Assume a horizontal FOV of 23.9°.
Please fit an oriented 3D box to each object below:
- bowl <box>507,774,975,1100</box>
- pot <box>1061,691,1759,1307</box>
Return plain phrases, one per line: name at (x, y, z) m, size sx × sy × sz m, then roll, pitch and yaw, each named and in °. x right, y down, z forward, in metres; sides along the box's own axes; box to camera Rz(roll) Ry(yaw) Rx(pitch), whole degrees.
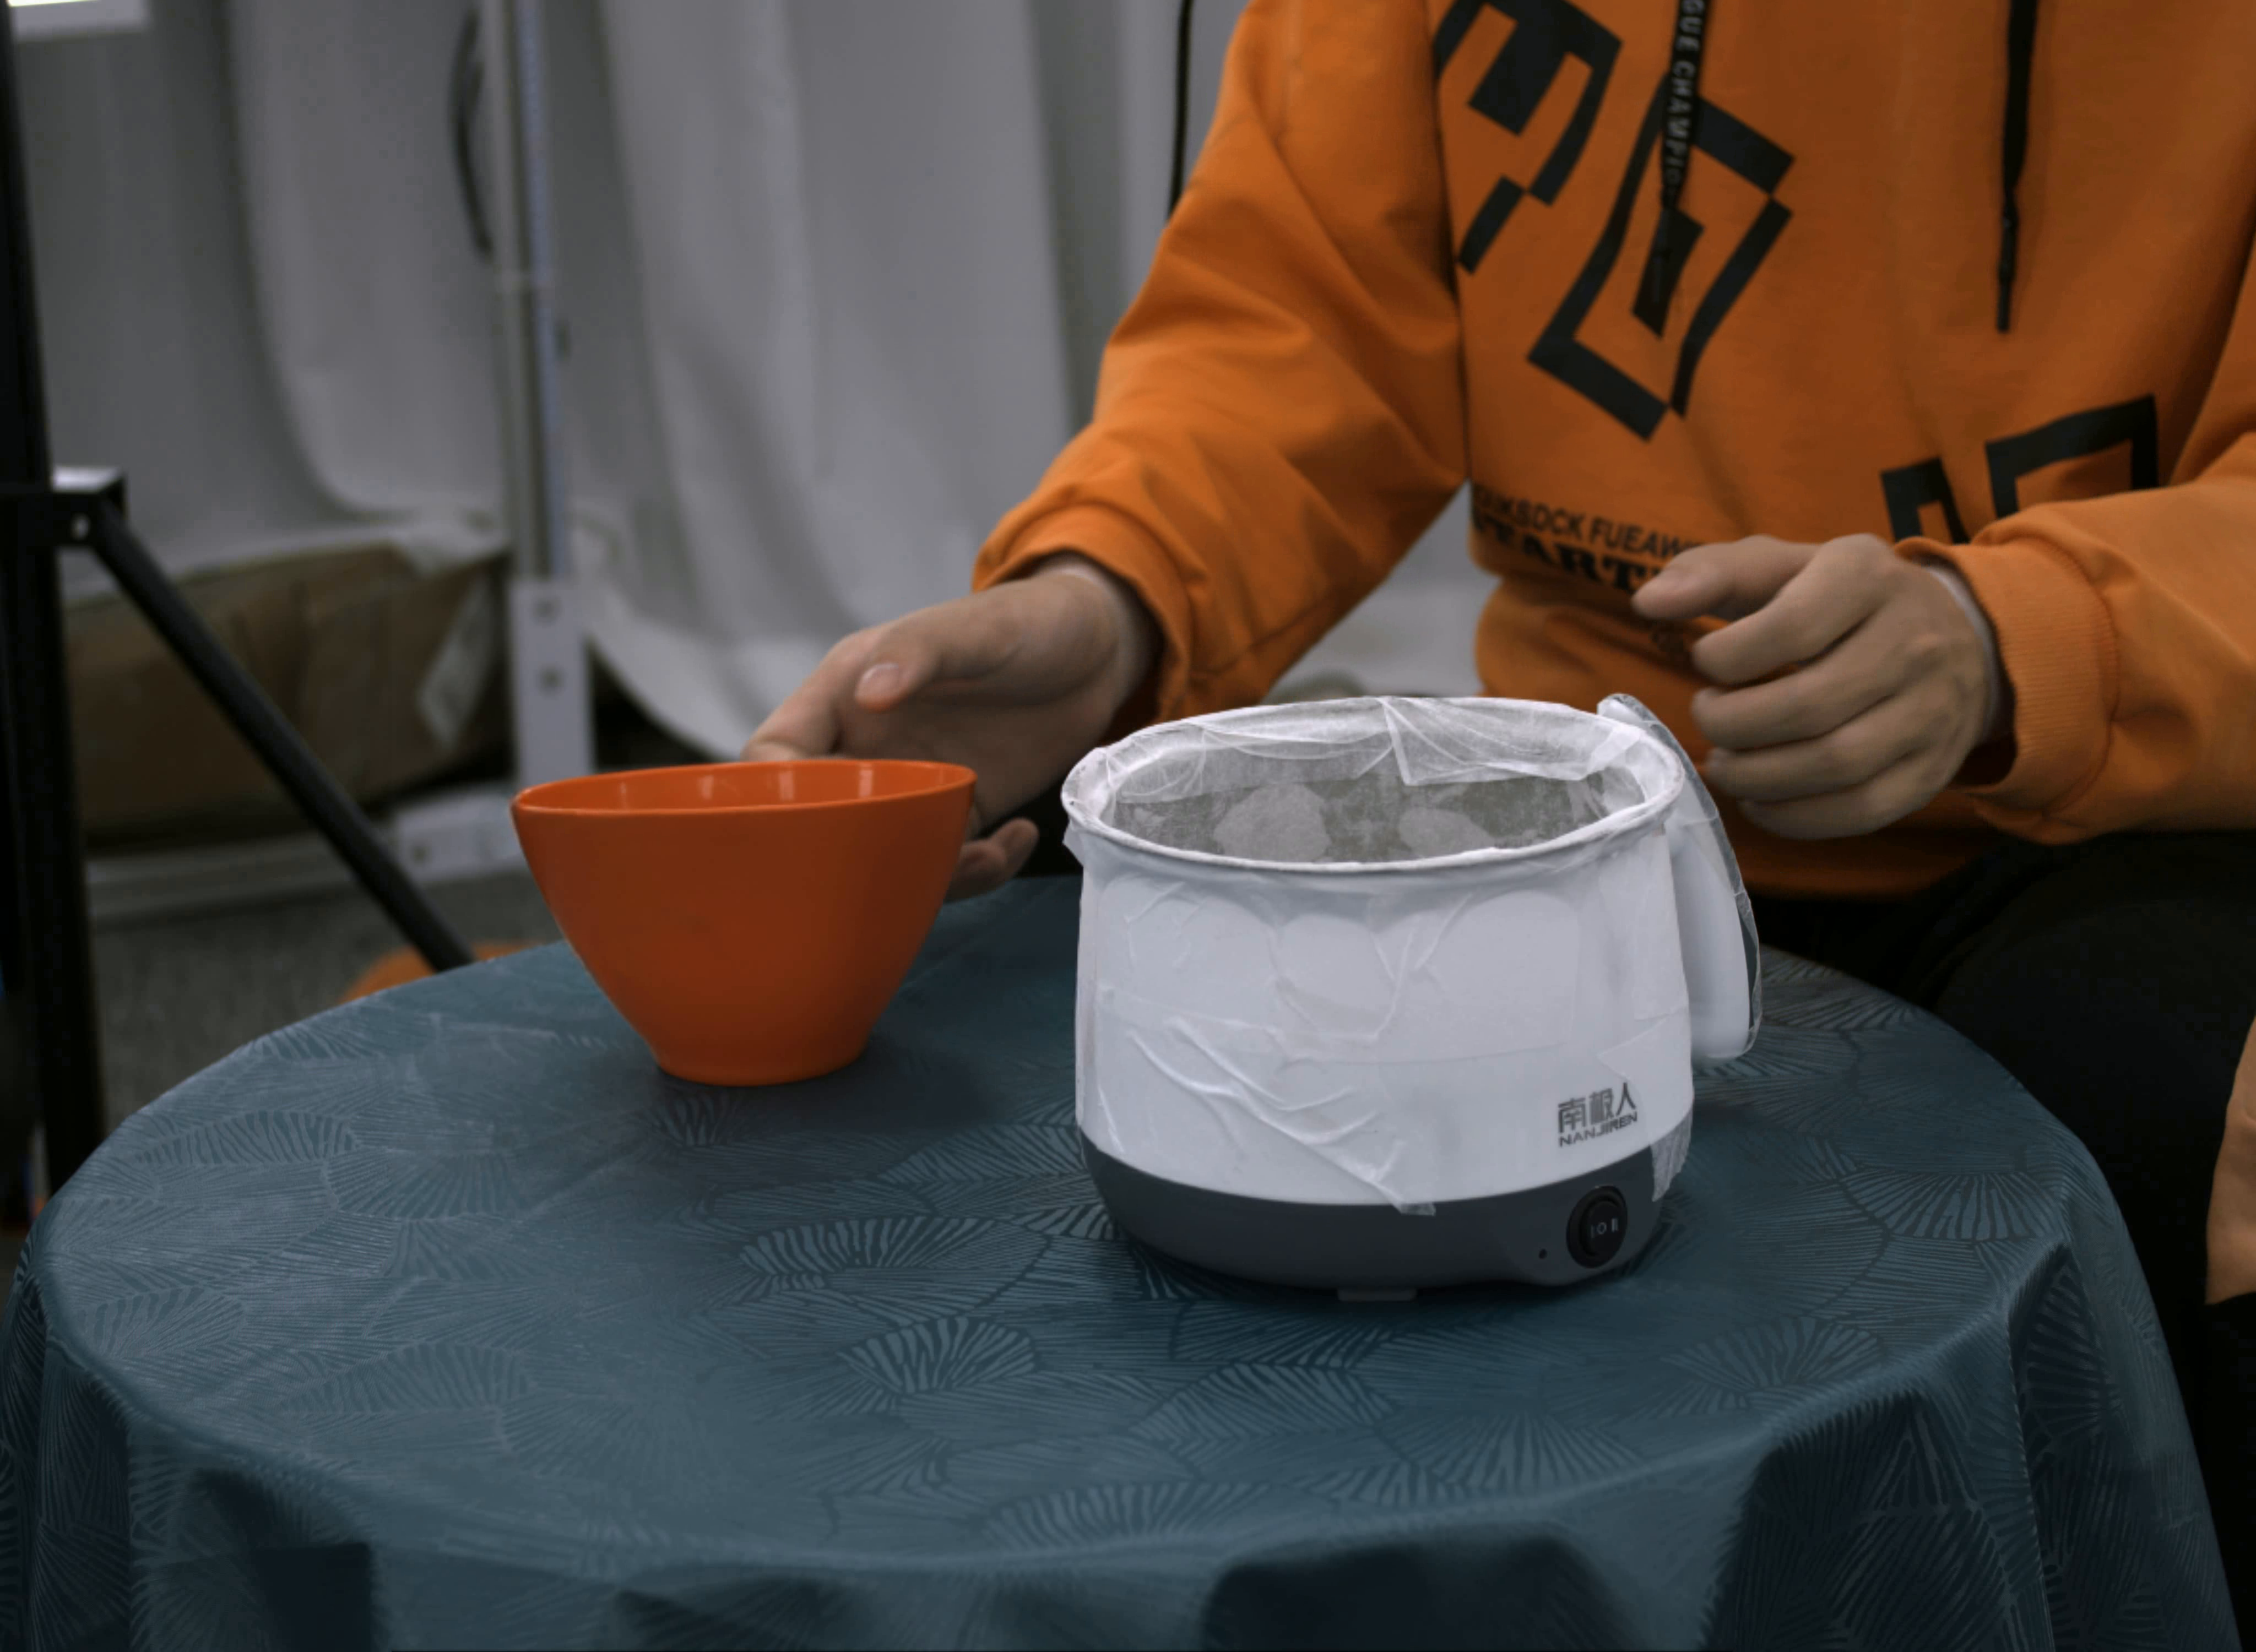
bowl at (-0.120, 0.031, 1.679) m, size 0.147 × 0.105 × 0.149 m, roll -2°, pitch 14°, yaw -1°
pot at (0.092, 0.042, 1.525) m, size 0.228 × 0.136 × 0.183 m, roll -16°, pitch 21°, yaw -38°
